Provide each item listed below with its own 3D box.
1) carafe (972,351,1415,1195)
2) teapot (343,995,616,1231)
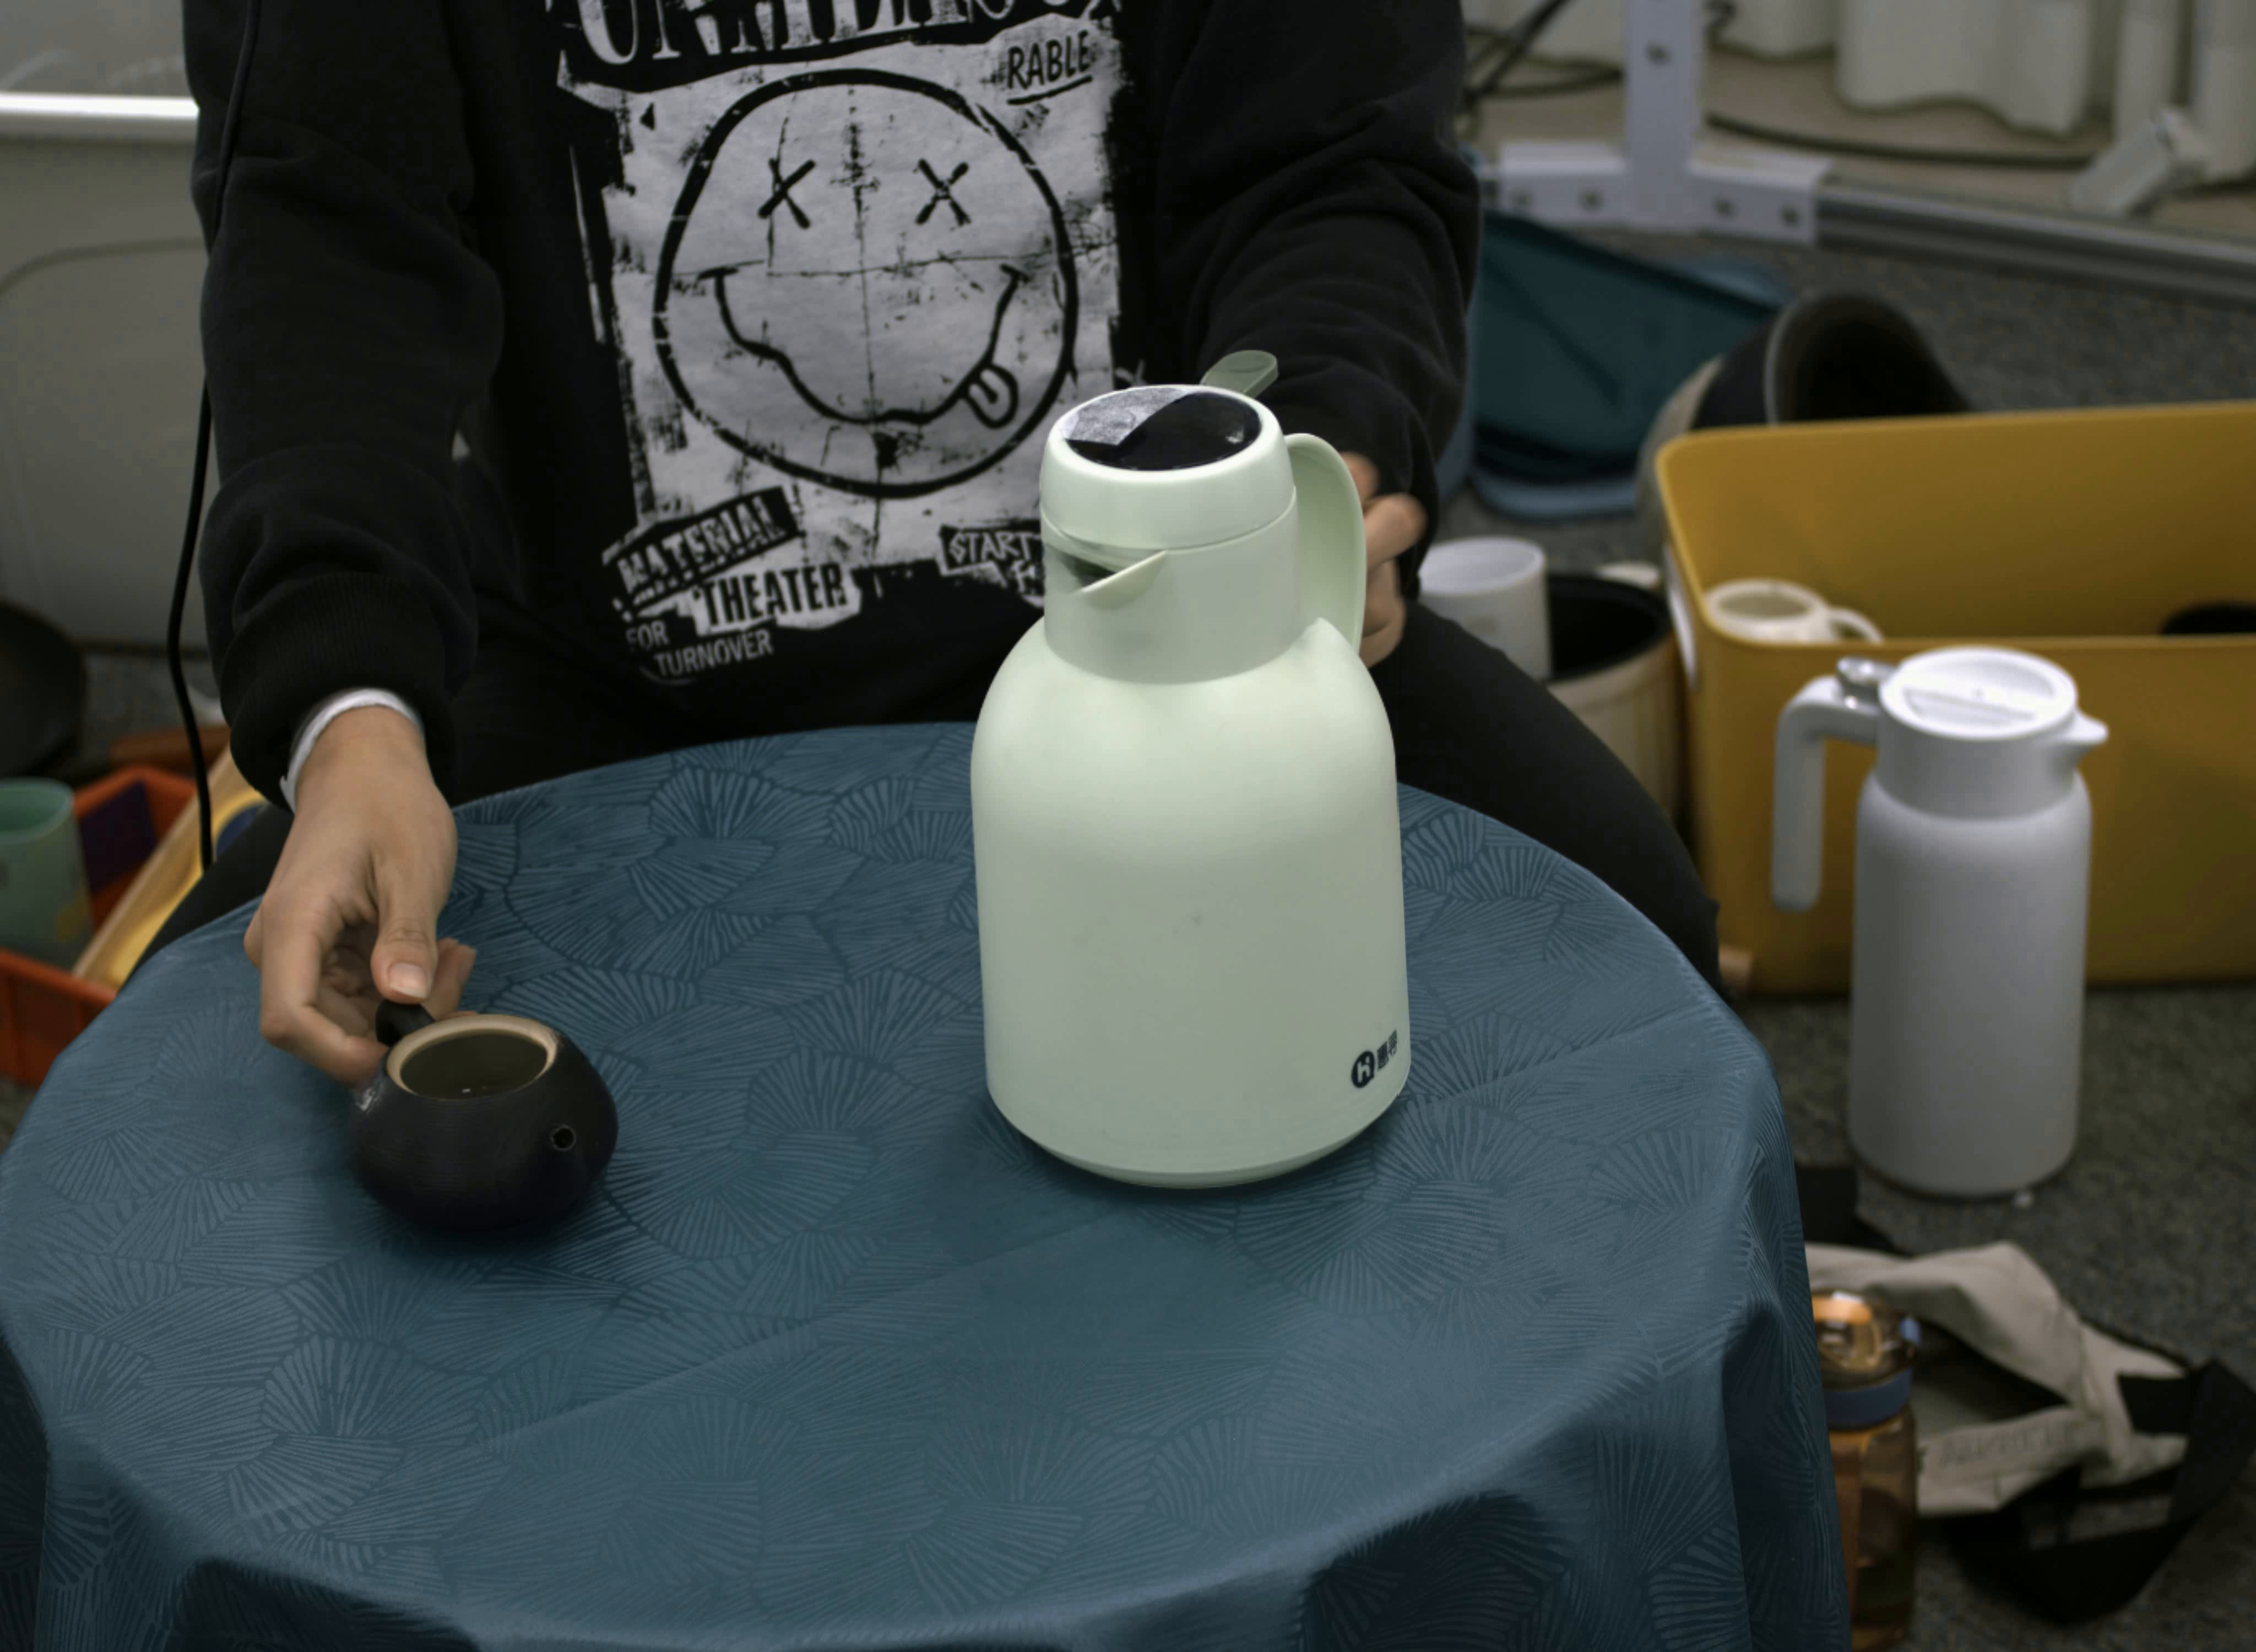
[{"bbox_3d":[0.025,-0.023,1.867,0.143,0.254,0.189,9,25,27],"label":"carafe"},{"bbox_3d":[-0.216,0.099,1.865,0.091,0.052,0.133,-18,30,-30],"label":"teapot"}]
